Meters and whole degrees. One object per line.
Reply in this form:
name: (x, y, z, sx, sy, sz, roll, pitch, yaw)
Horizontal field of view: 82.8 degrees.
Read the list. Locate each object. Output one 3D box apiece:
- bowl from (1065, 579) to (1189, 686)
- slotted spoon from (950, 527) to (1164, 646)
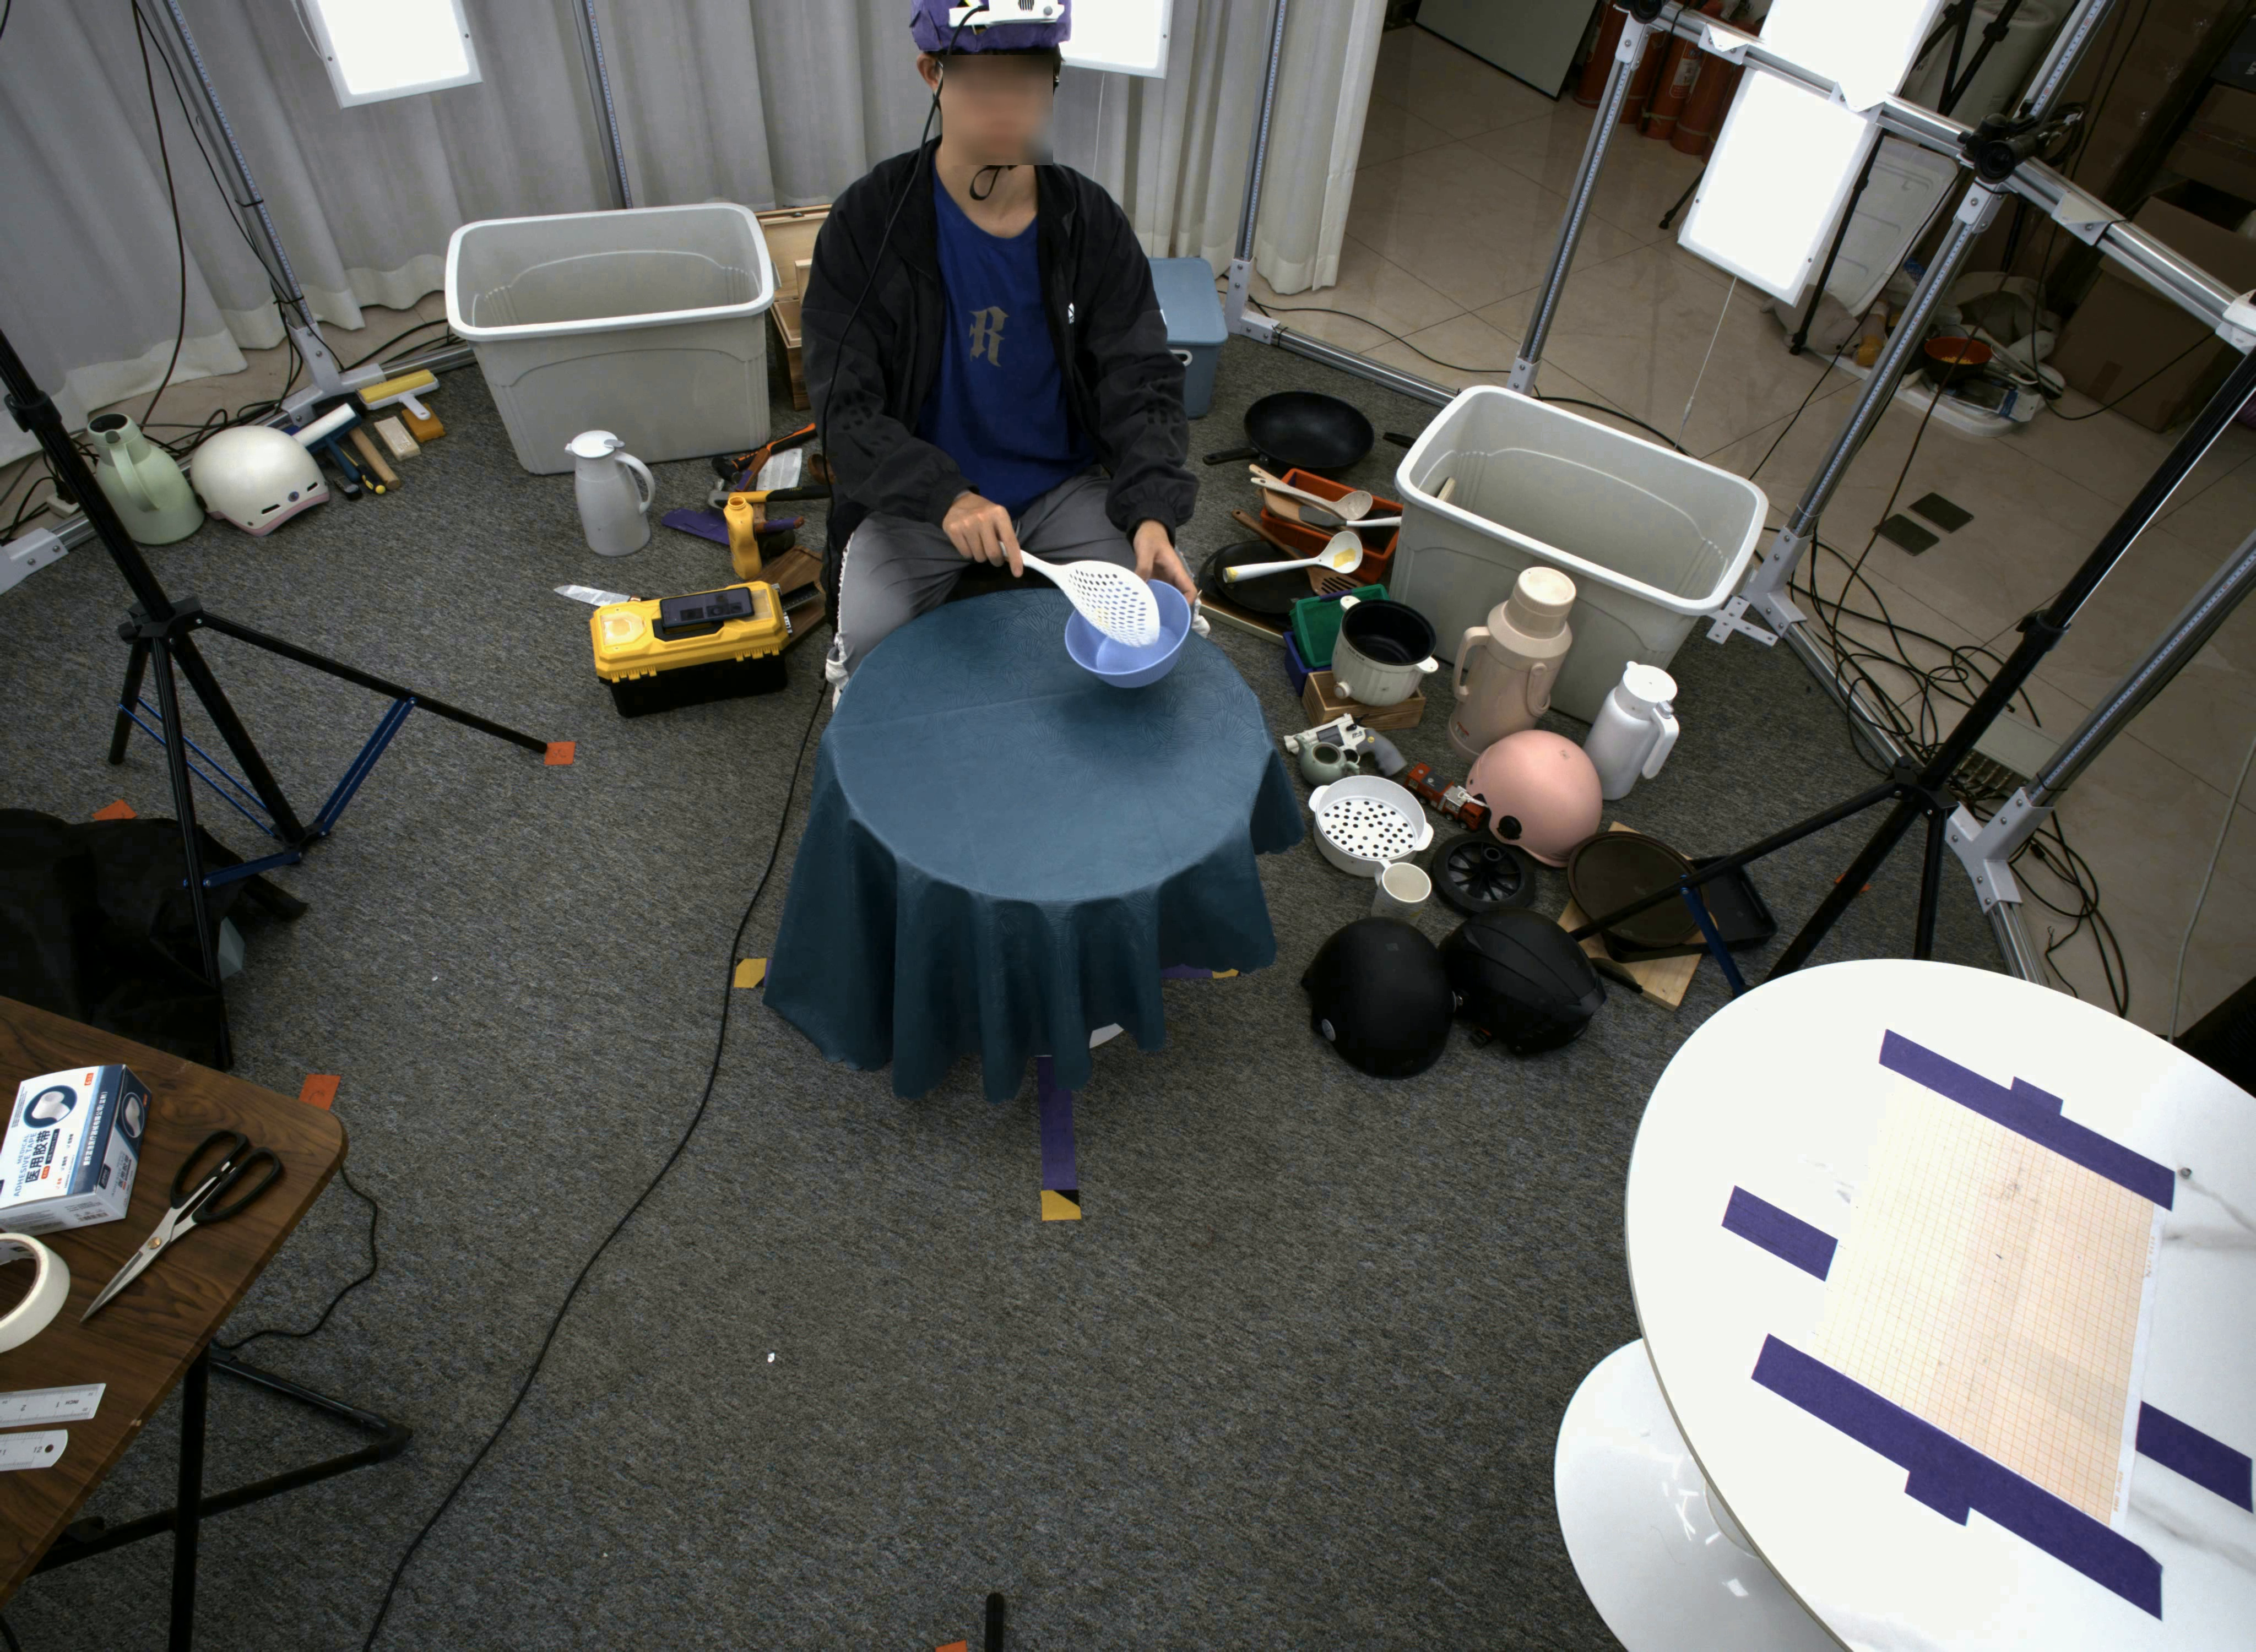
bowl: (0.006, -0.259, 1.784, 0.176, 0.068, 0.180, -9, 51, 11)
slotted spoon: (-0.101, -0.343, 1.779, 0.352, 0.133, 0.051, 33, 61, 24)
